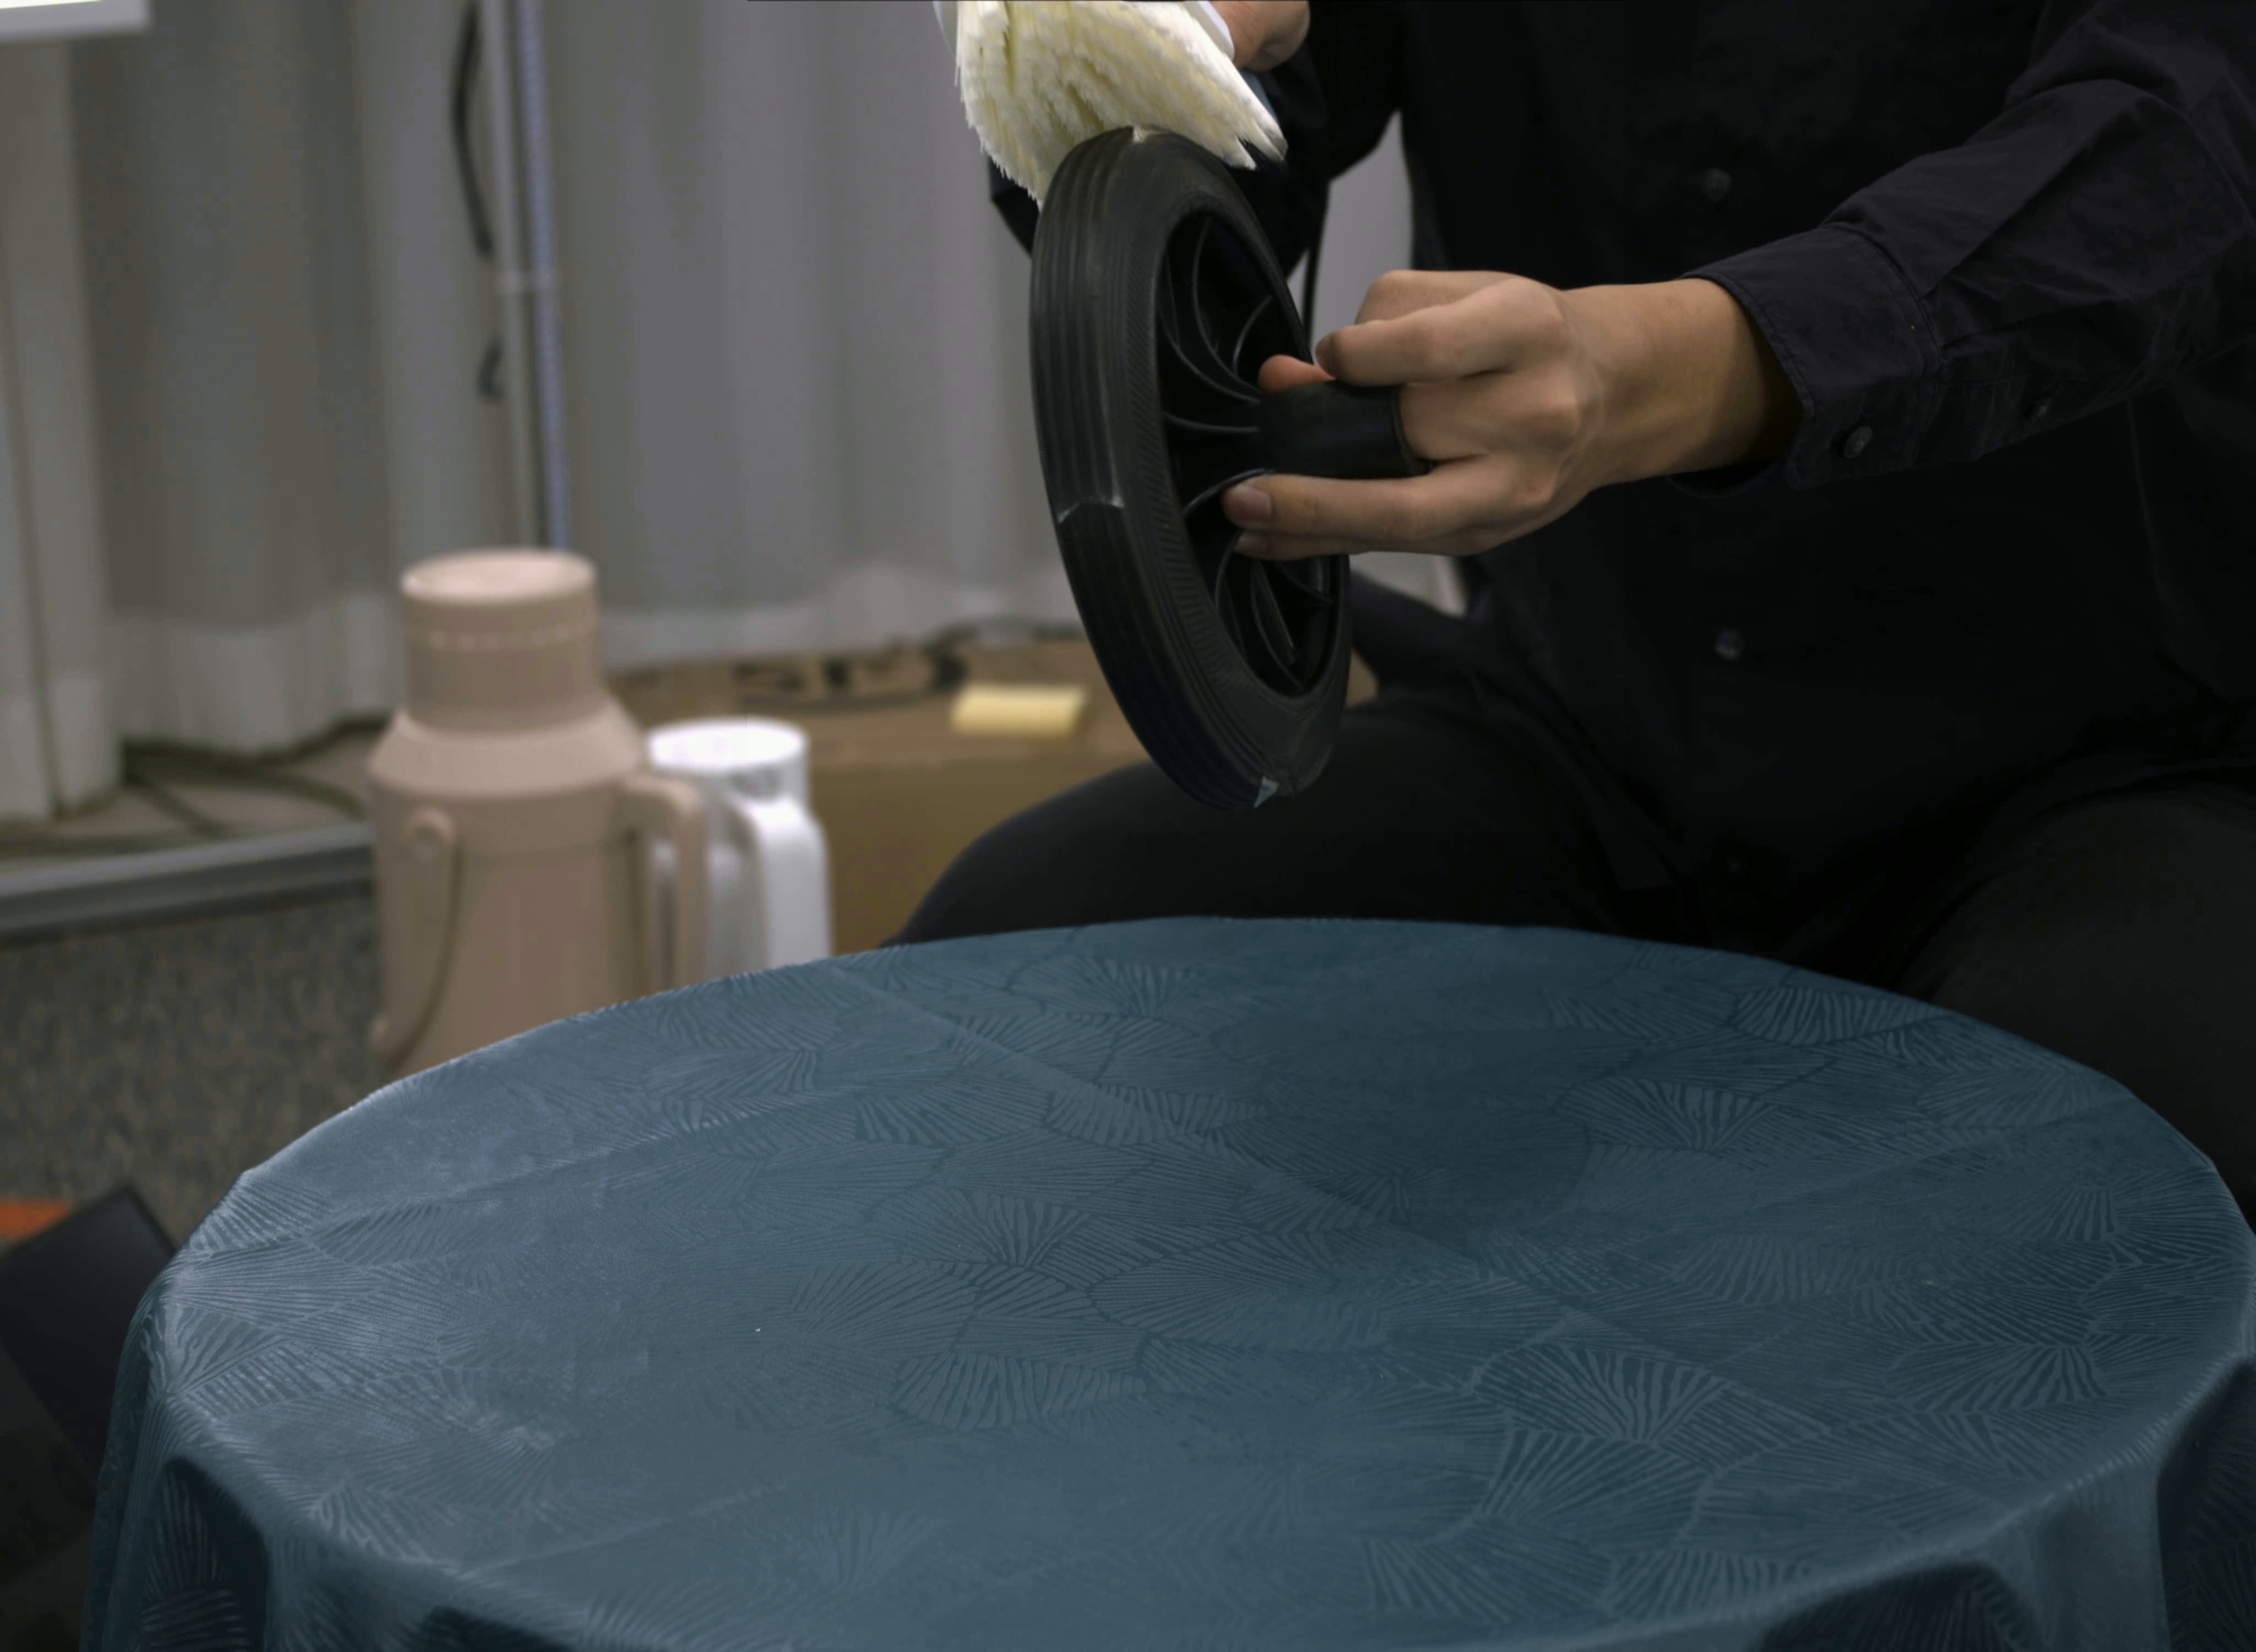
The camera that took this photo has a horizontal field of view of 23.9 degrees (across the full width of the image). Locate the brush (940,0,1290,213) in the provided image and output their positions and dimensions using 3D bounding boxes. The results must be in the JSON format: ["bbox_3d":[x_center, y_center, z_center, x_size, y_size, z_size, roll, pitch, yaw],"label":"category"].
[{"bbox_3d":[0.017,-0.206,1.551,0.084,0.085,0.321,15,0,15],"label":"brush"}]

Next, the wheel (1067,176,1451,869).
[{"bbox_3d":[0.046,-0.087,1.444,0.080,0.185,0.190,-12,31,20],"label":"wheel"}]
